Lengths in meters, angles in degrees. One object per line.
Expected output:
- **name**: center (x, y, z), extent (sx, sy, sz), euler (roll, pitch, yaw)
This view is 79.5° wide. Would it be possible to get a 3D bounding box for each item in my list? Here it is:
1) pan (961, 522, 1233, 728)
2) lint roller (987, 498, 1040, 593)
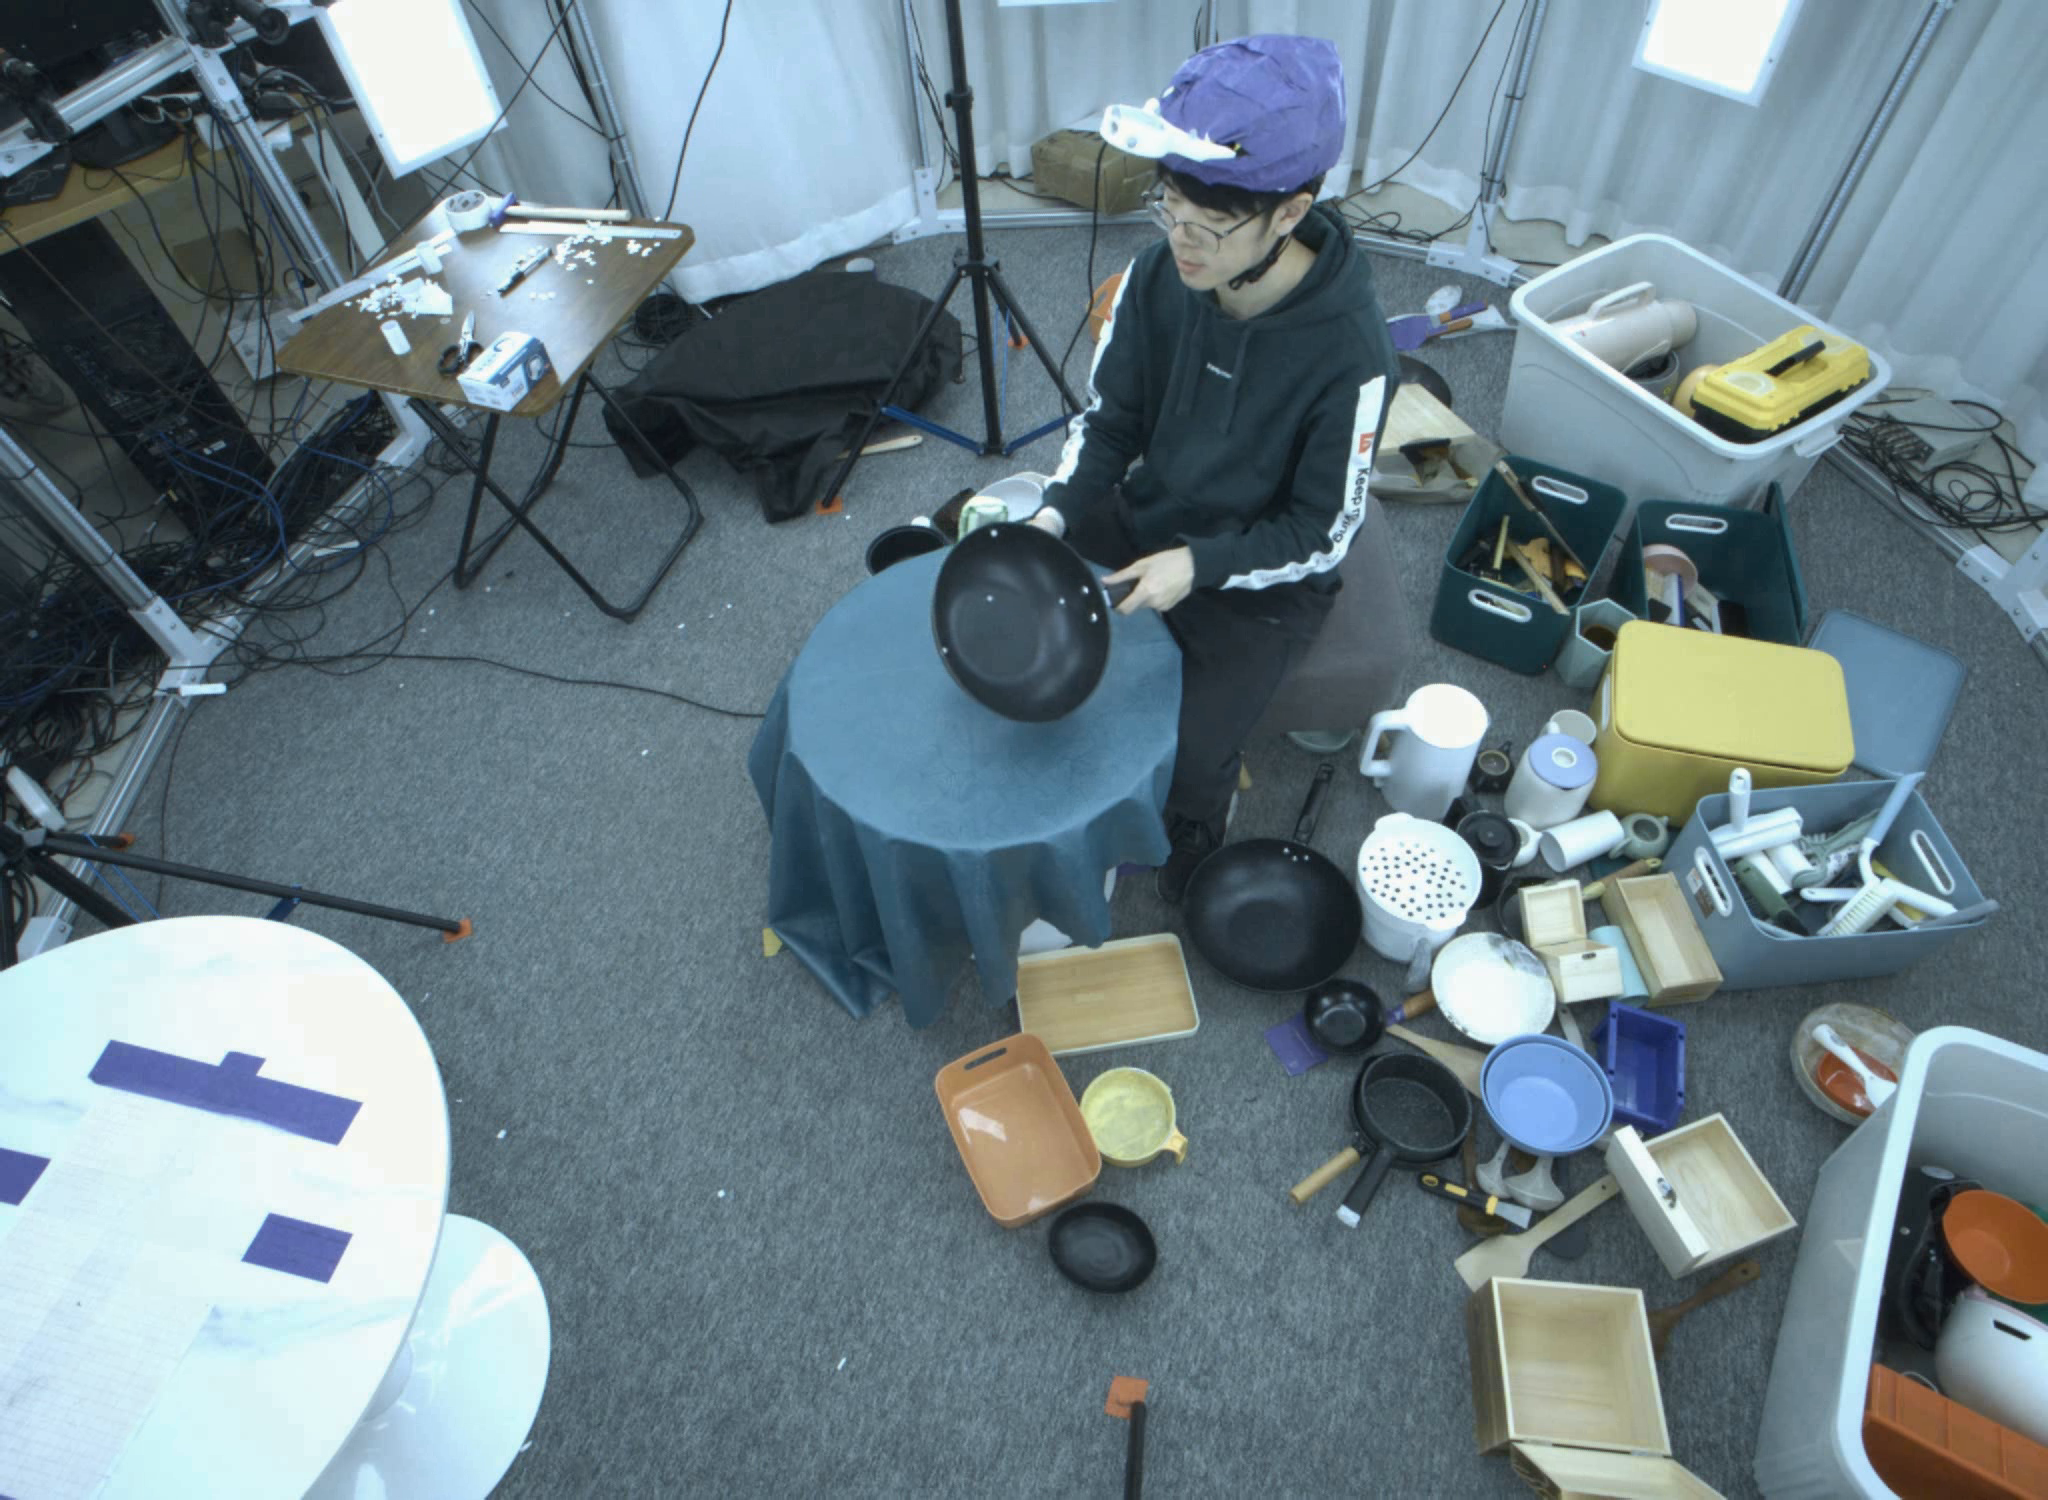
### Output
- **pan**: center (0.100, -0.191, 1.739), extent (0.470, 0.085, 0.288), euler (-19, 93, -31)
- **lint roller**: center (0.006, -0.278, 1.781), extent (0.080, 0.199, 0.186), euler (30, 36, 29)
